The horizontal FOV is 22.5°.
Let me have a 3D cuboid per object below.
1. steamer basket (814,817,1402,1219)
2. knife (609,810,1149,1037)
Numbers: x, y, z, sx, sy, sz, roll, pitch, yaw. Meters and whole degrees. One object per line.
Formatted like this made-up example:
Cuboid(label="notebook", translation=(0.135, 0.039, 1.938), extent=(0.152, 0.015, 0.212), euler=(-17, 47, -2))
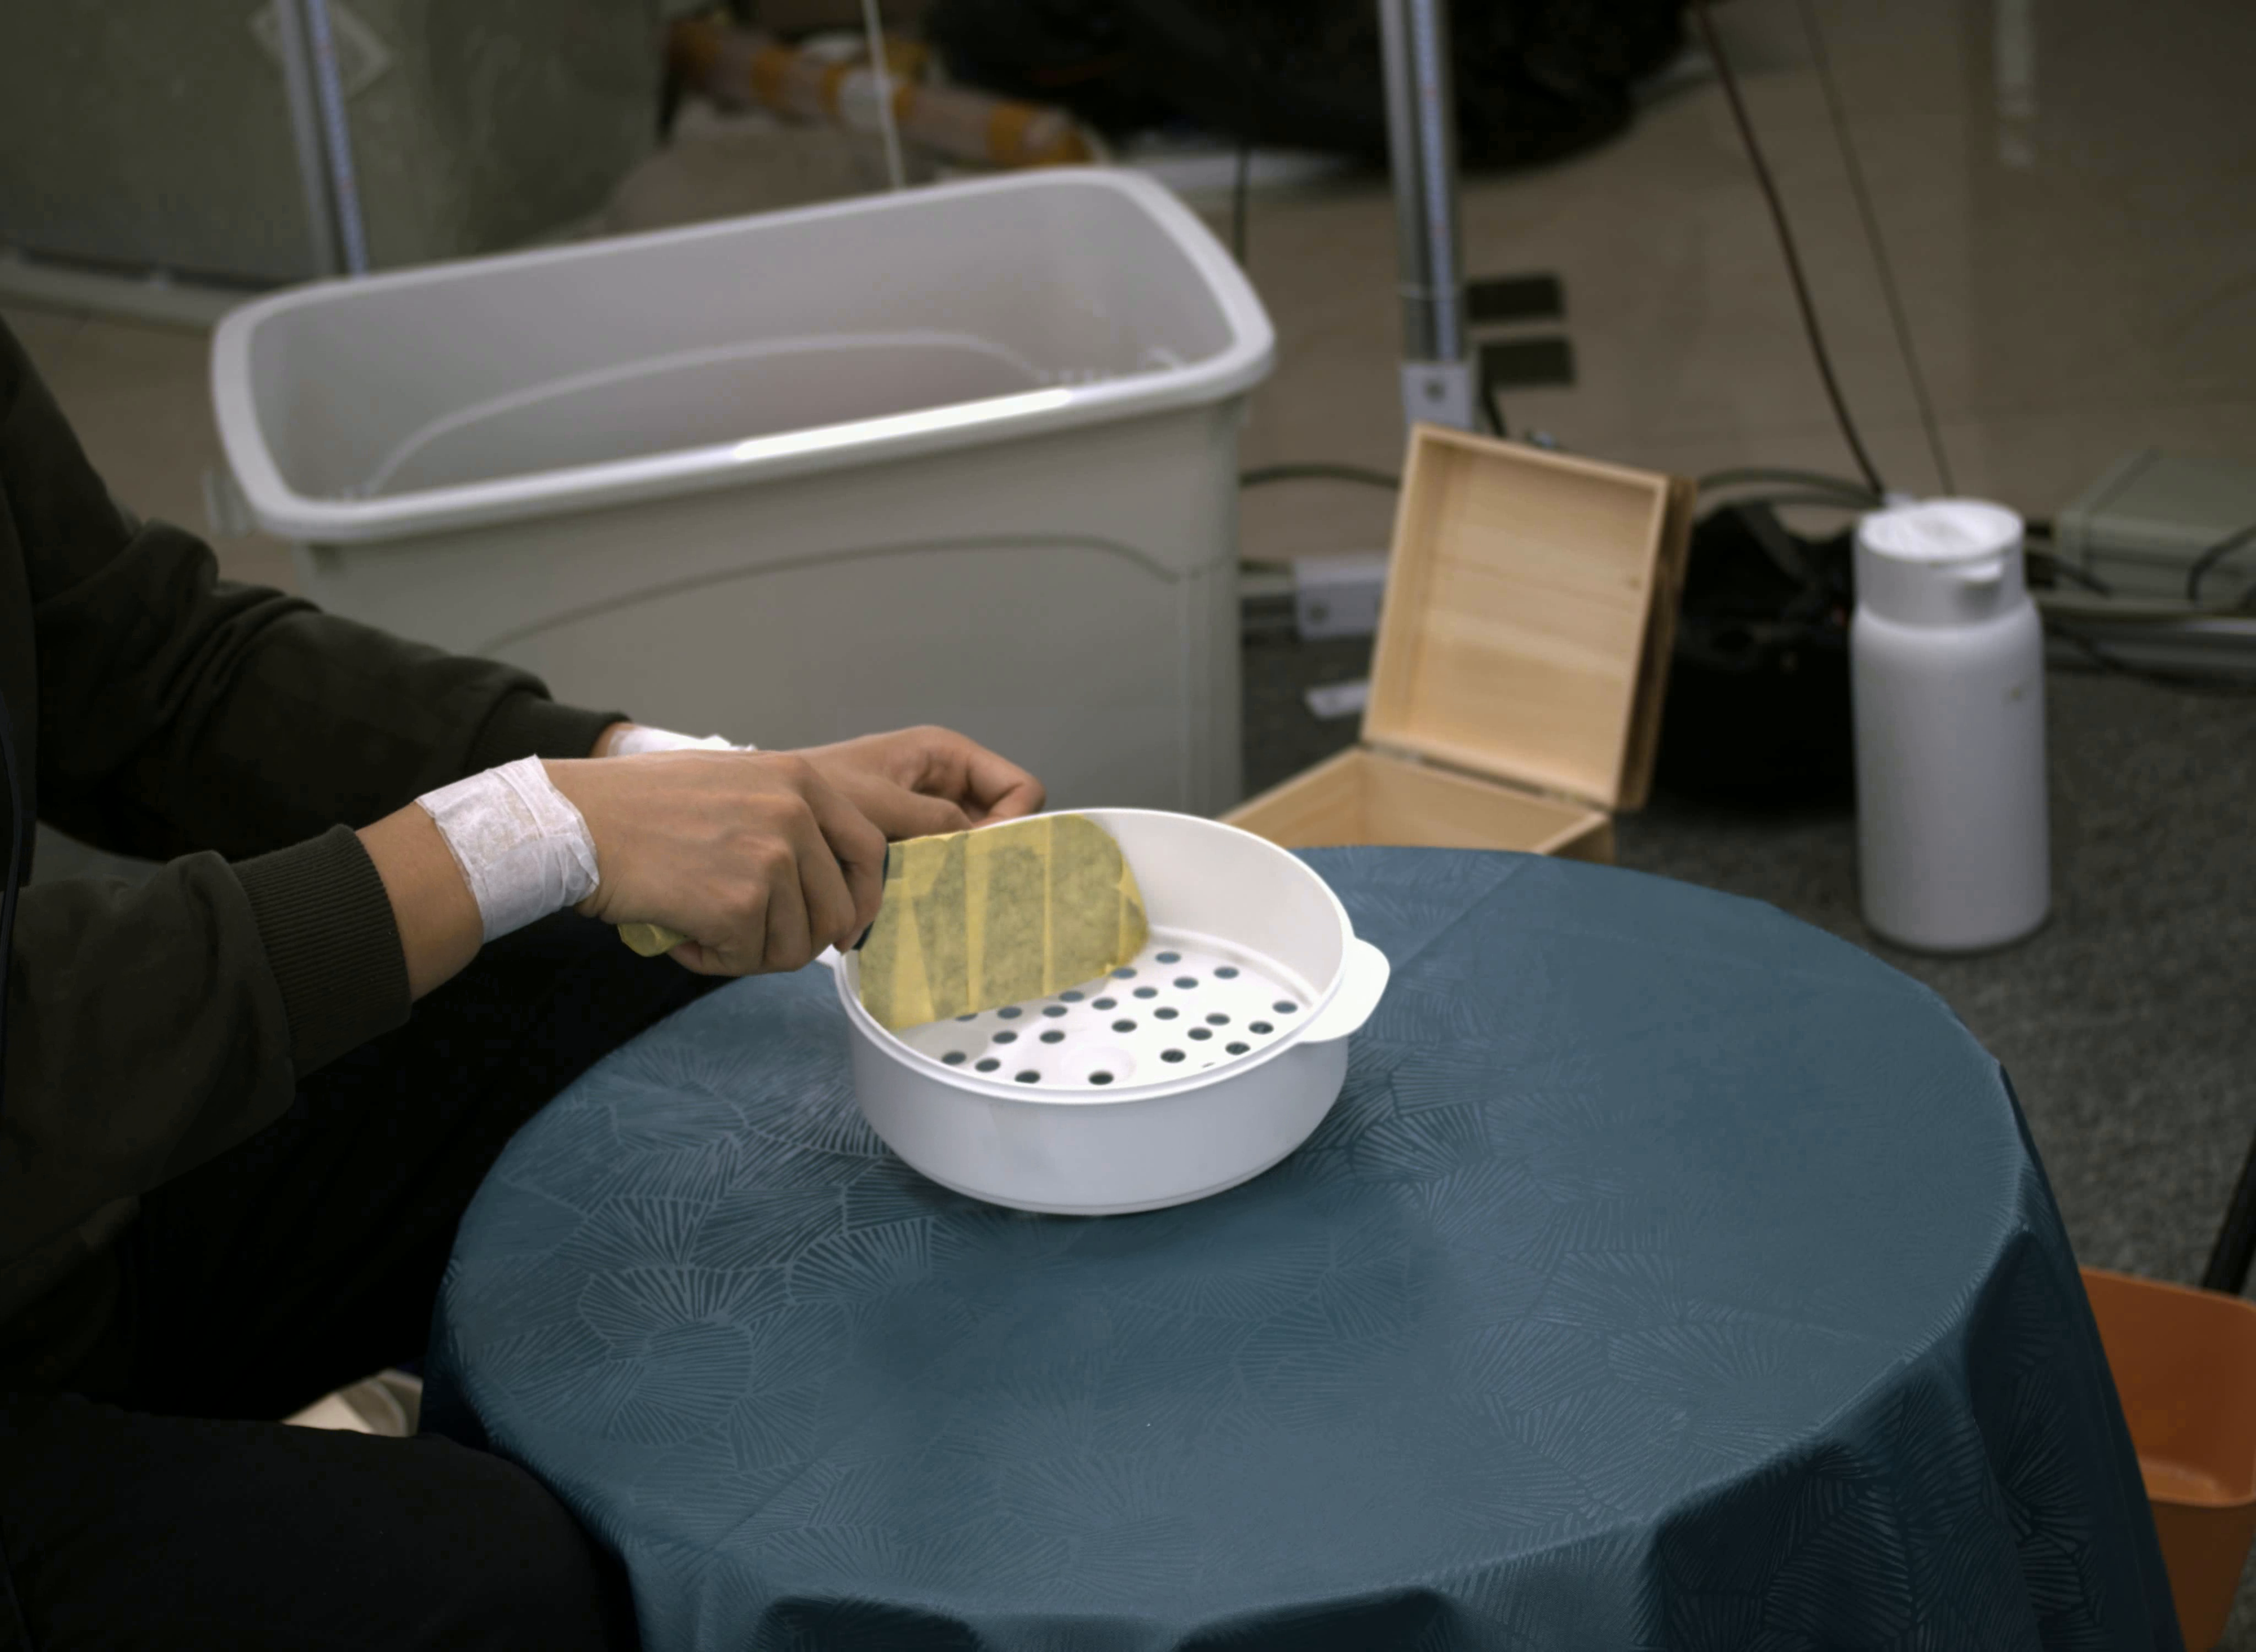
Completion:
Cuboid(label="steamer basket", translation=(-0.007, 0.074, 2.192), extent=(0.230, 0.070, 0.199), euler=(8, 33, 18))
Cuboid(label="knife", translation=(-0.088, 0.039, 2.165), extent=(0.027, 0.081, 0.289), euler=(6, 8, 42))
